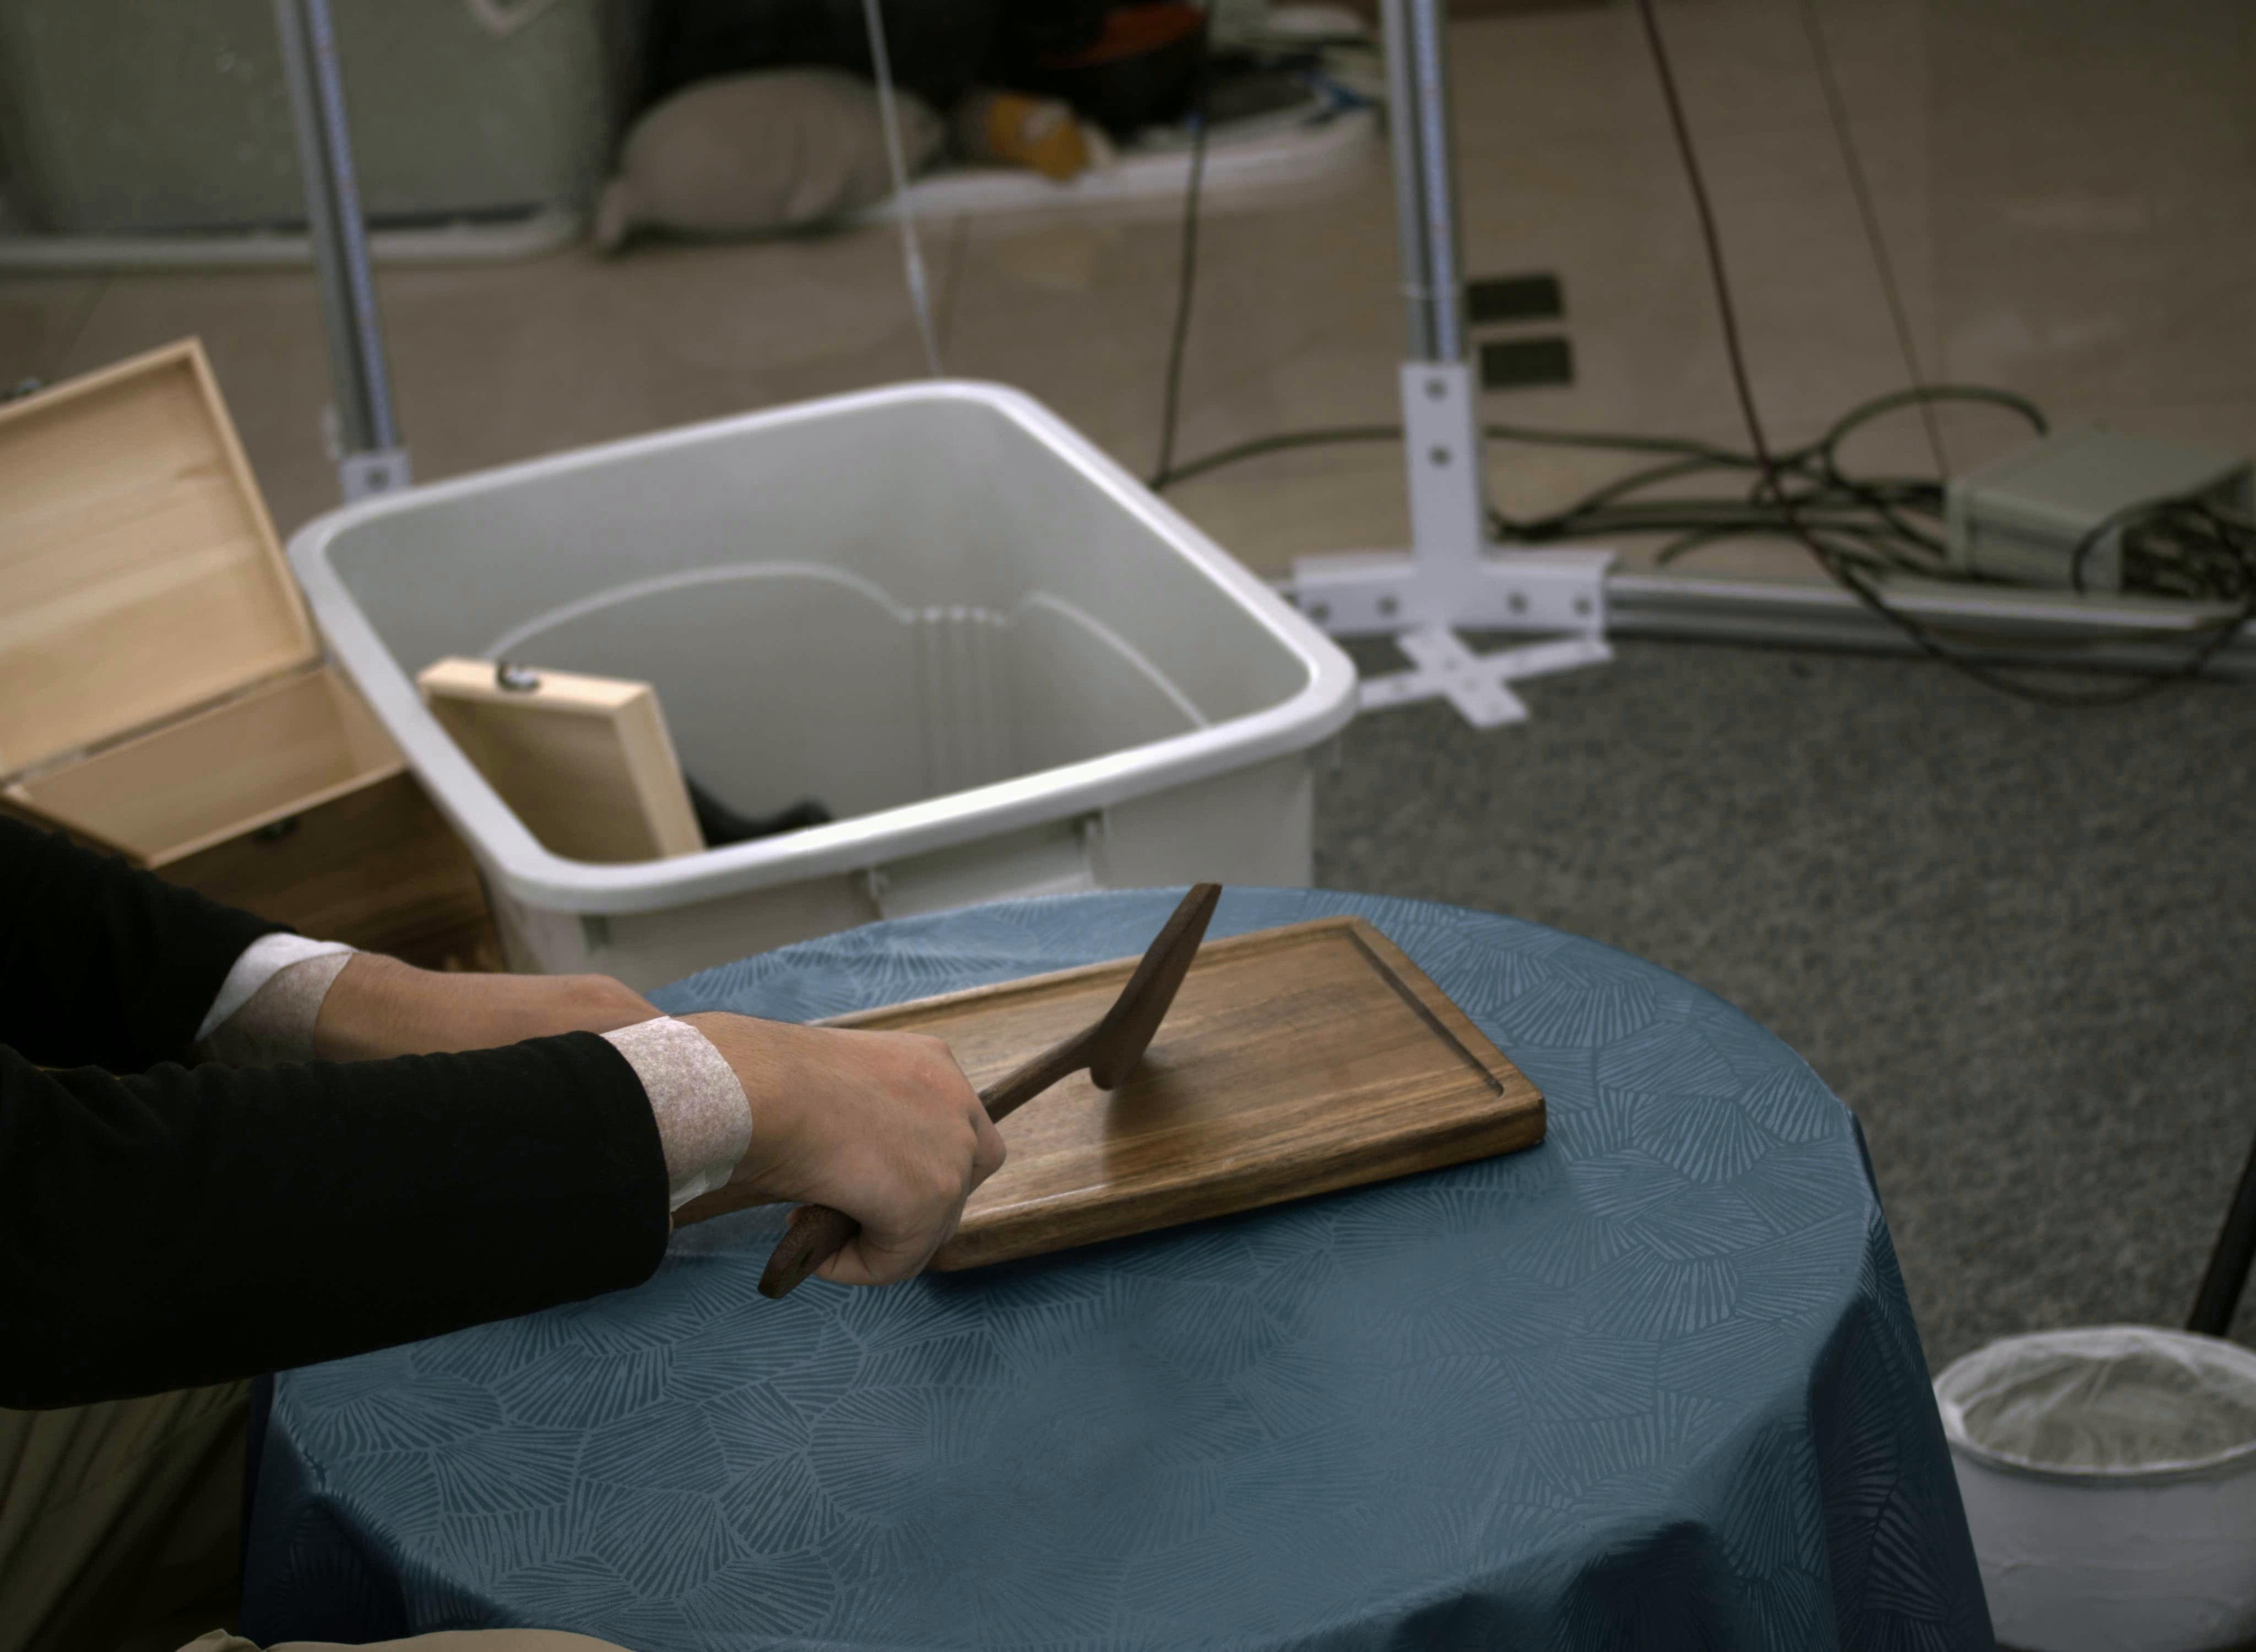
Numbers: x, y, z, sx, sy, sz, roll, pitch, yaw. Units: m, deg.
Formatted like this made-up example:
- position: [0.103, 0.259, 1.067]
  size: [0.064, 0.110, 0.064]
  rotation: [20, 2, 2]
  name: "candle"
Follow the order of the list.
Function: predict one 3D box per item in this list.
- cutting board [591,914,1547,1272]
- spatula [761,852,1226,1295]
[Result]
- position: [-0.036, 0.108, 2.178]
  size: [0.351, 0.023, 0.198]
  rotation: [-11, 25, -17]
  name: "cutting board"
- position: [-0.045, 0.096, 2.031]
  size: [0.015, 0.097, 0.382]
  rotation: [30, 25, 13]
  name: "spatula"
